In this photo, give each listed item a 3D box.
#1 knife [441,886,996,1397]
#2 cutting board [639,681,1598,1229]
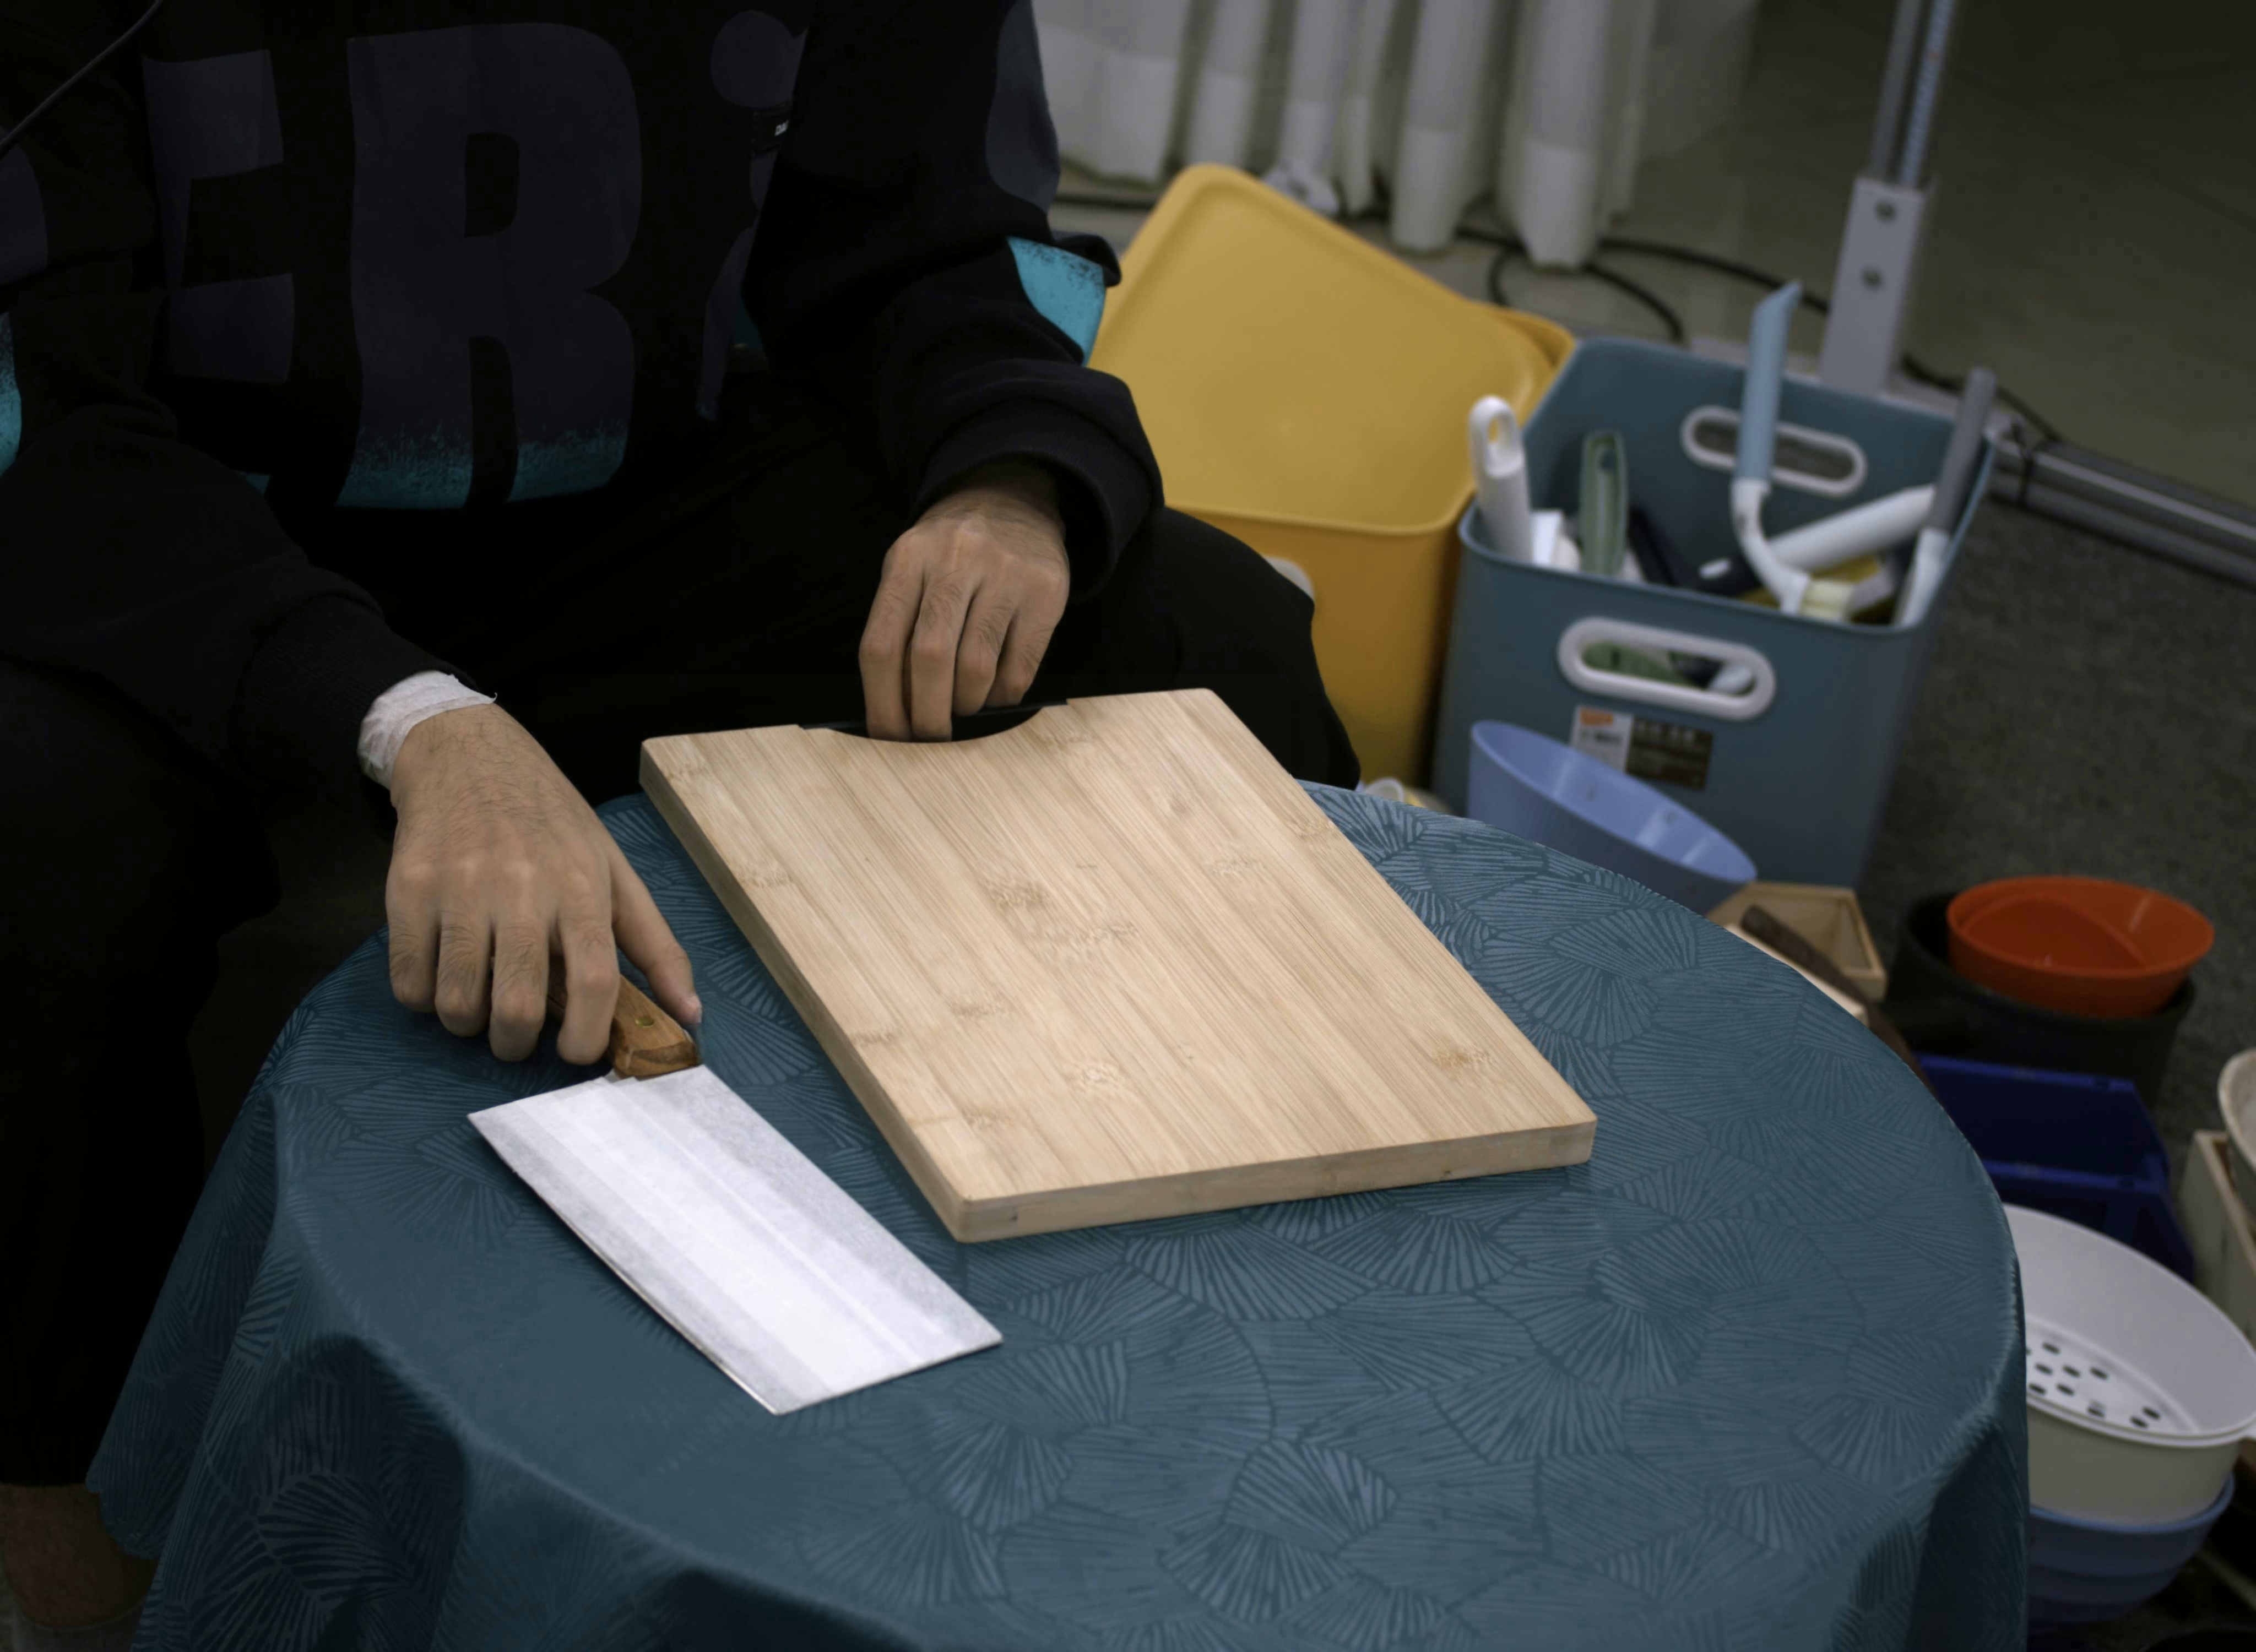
[{"bbox_3d":[-0.163,0.105,1.787,0.092,0.021,0.308,-15,36,-34],"label":"knife"},{"bbox_3d":[-0.012,0.040,1.944,0.249,0.023,0.352,-6,30,-23],"label":"cutting board"}]
